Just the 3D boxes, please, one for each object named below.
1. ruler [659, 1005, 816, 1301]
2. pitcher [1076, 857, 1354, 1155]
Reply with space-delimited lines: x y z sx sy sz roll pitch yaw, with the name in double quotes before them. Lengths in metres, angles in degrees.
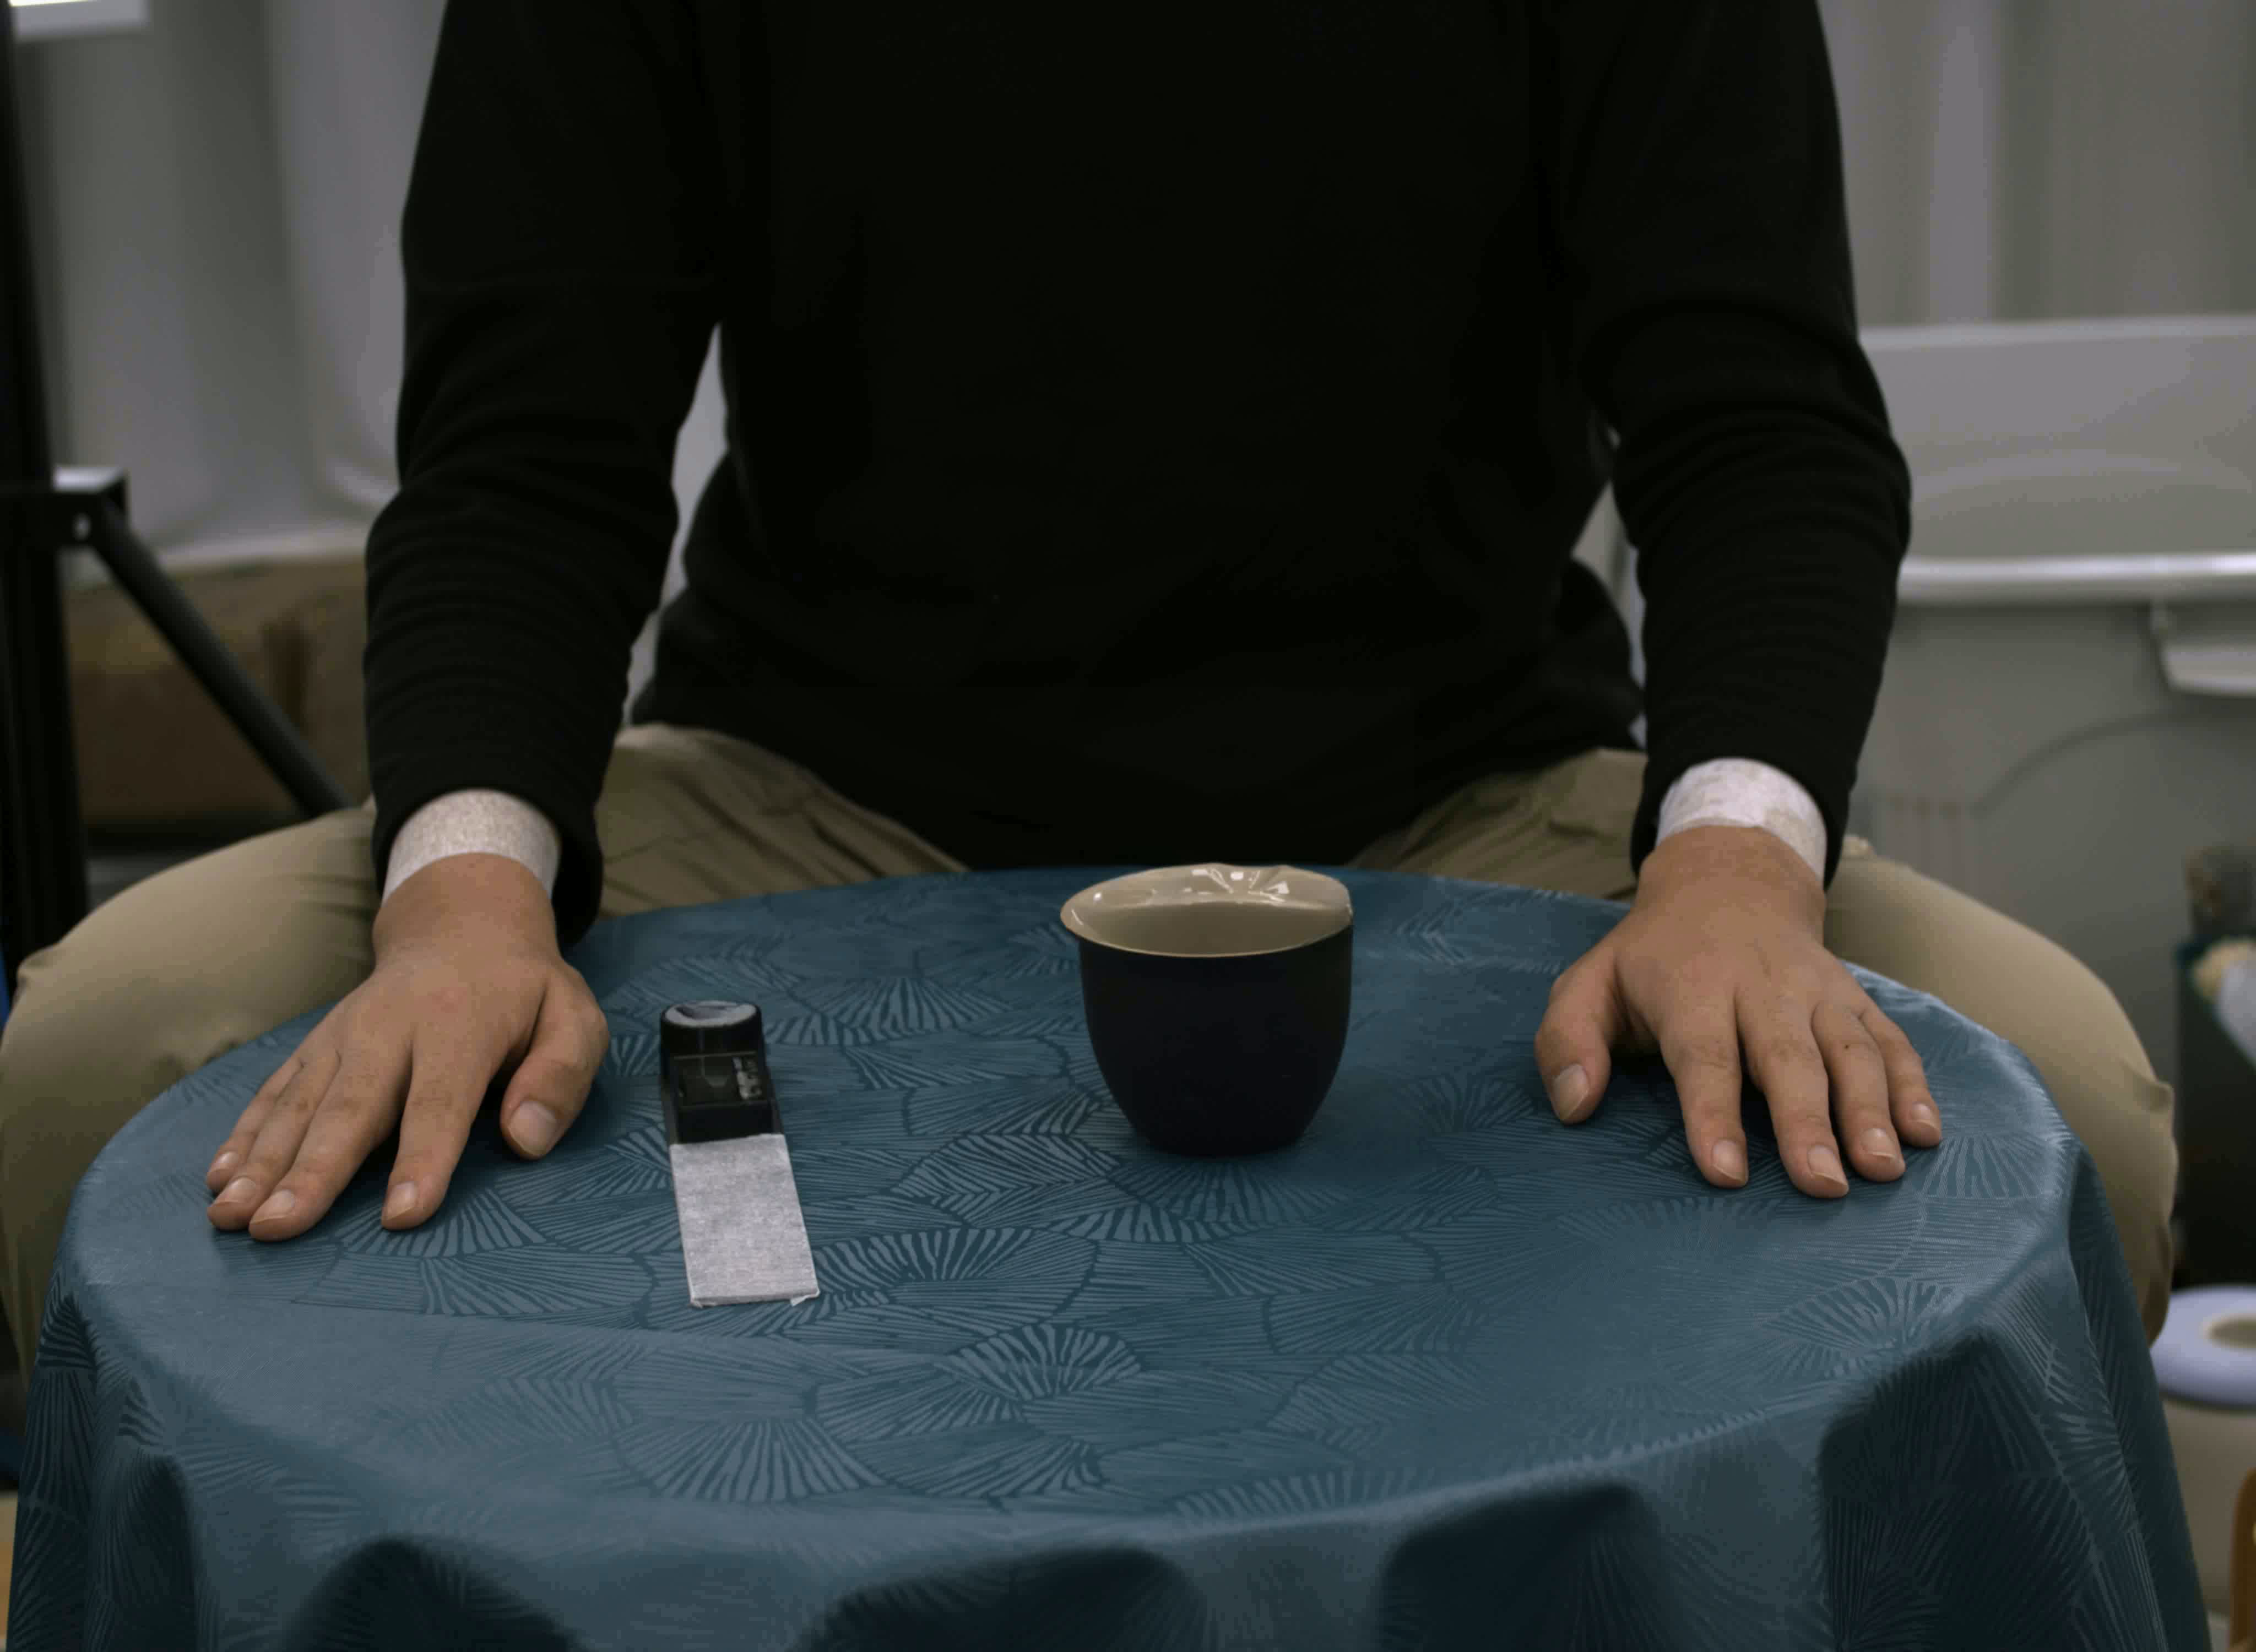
"ruler" -0.119 0.094 1.584 0.038 0.024 0.220 -10 15 -5
"pitcher" 0.029 0.056 1.601 0.084 0.071 0.095 1 16 16
